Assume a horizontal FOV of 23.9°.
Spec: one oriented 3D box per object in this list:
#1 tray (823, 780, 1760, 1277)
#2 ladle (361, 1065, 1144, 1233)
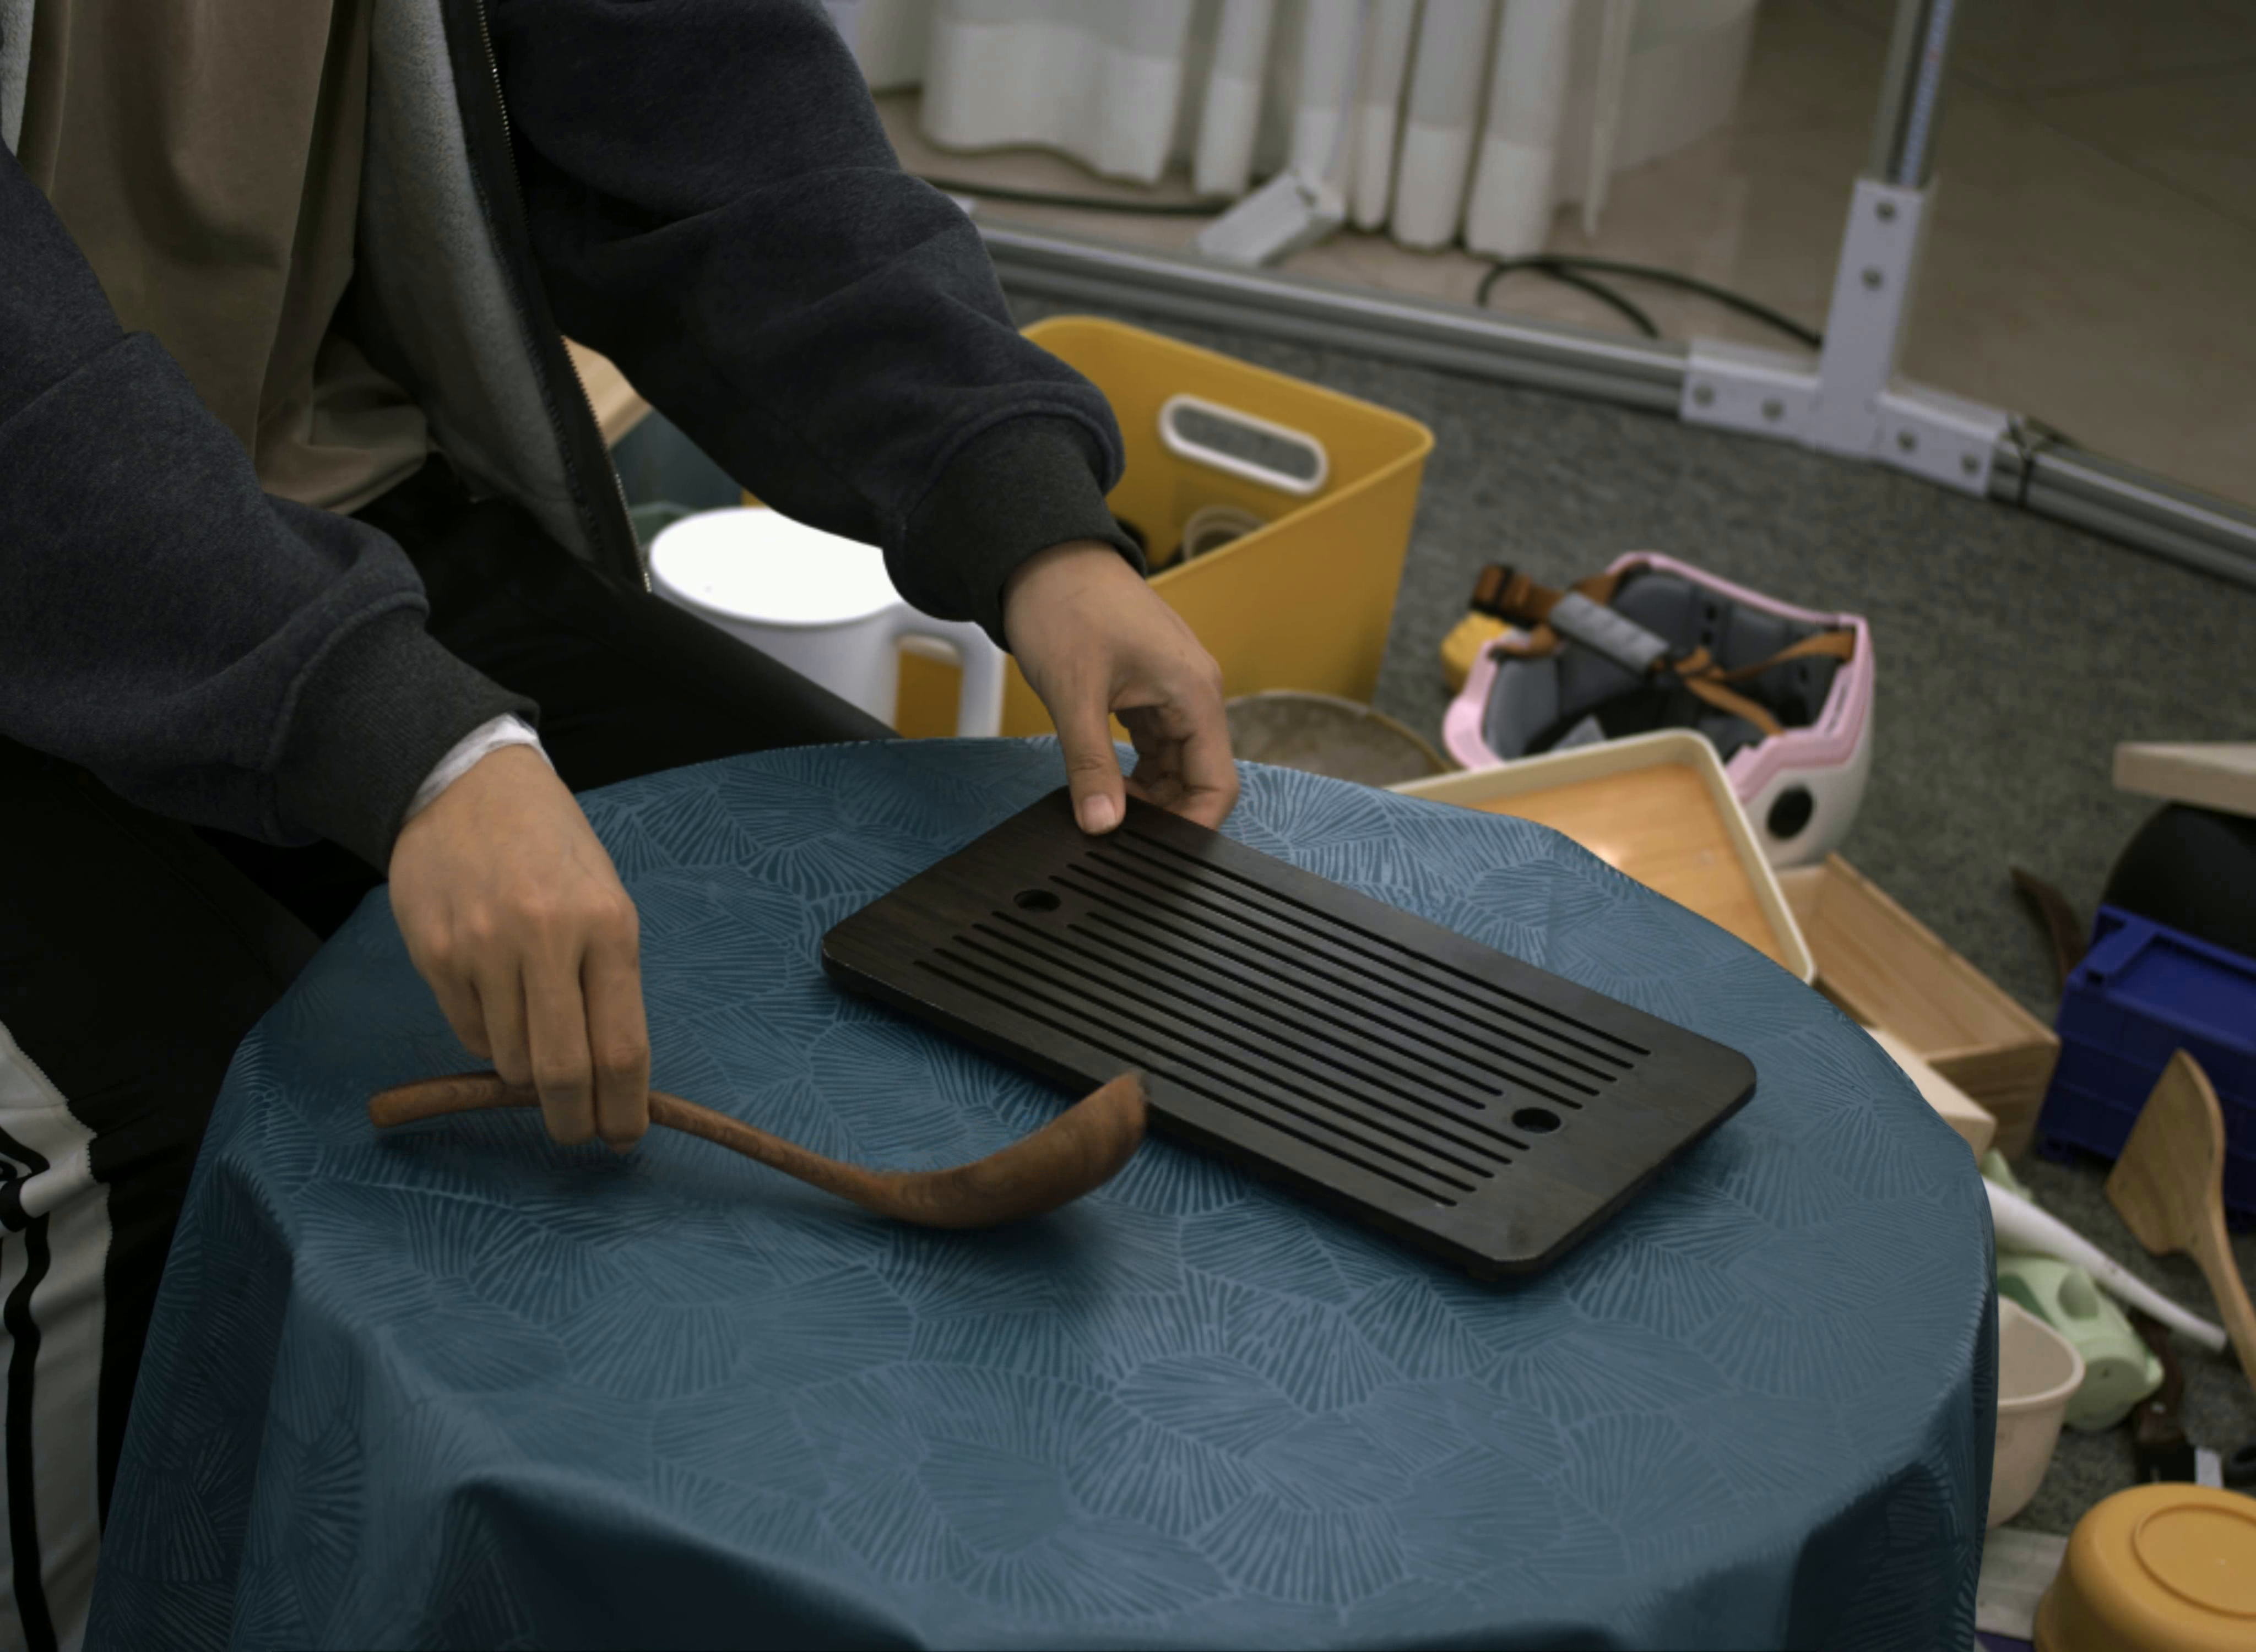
[{"bbox_3d":[0.056,0.069,1.892,0.308,0.018,0.169,23,34,30],"label":"tray"},{"bbox_3d":[-0.124,0.091,1.766,0.260,0.065,0.076,10,-2,5],"label":"ladle"}]
